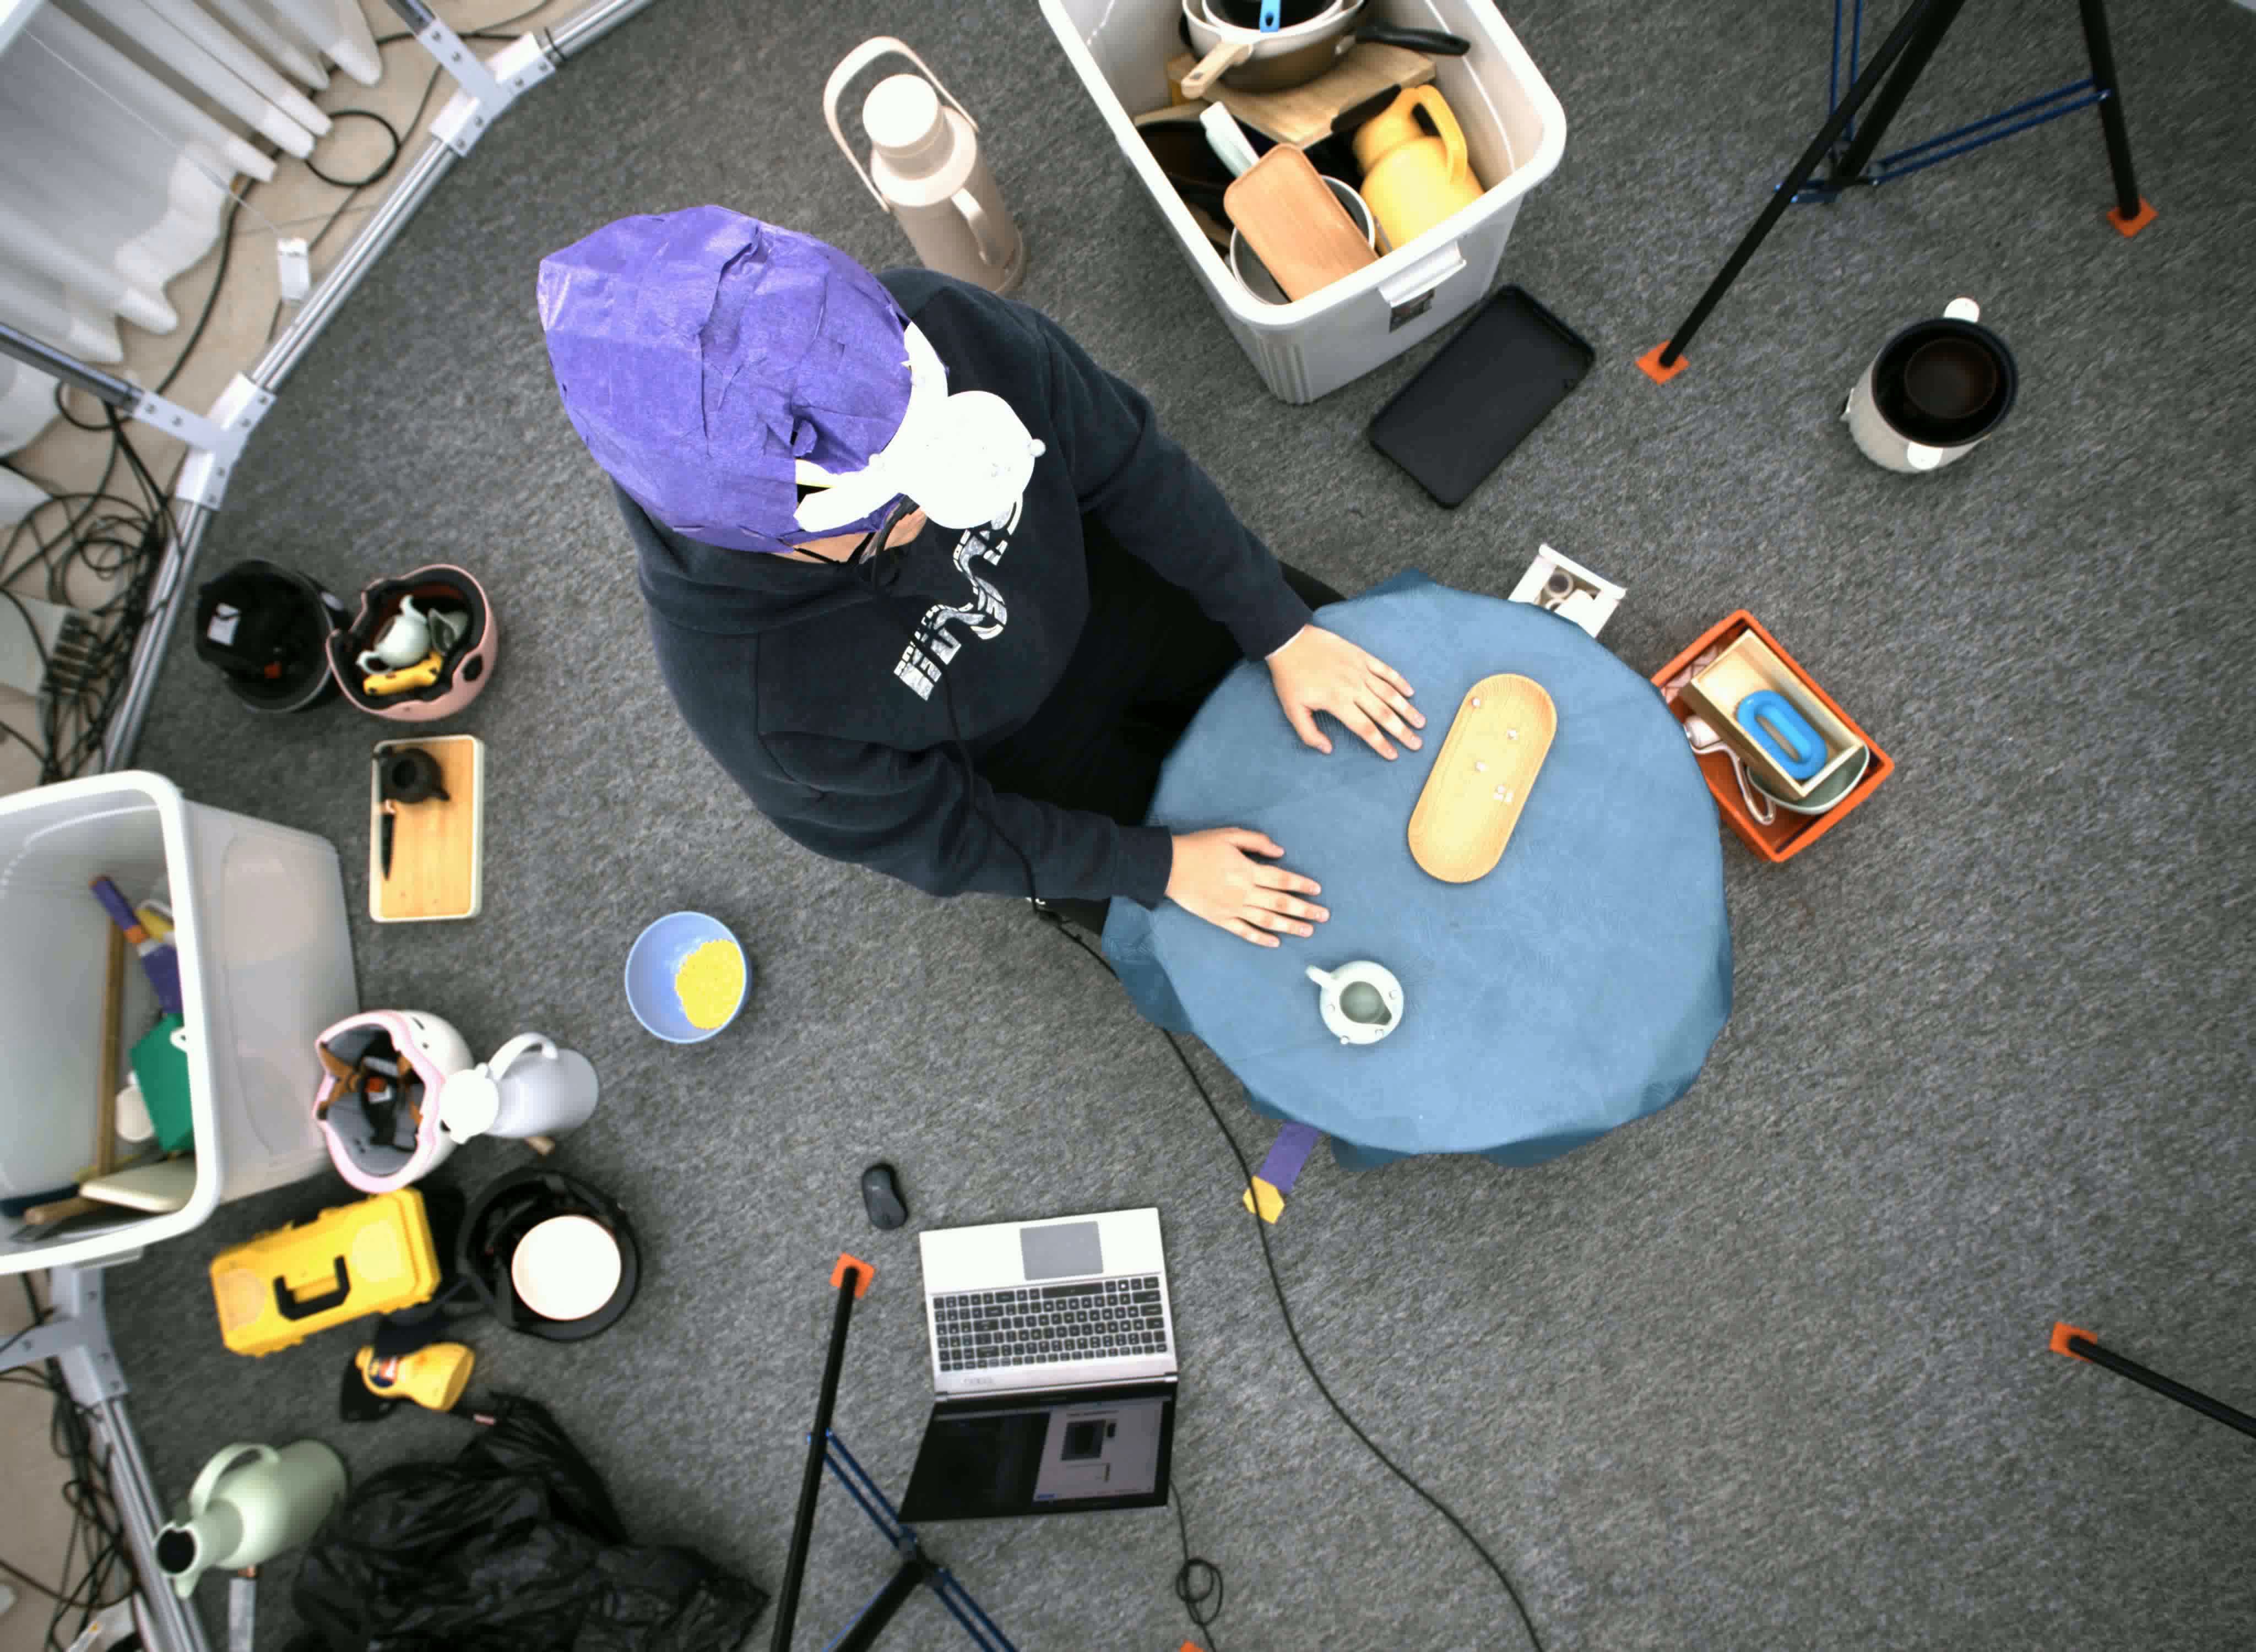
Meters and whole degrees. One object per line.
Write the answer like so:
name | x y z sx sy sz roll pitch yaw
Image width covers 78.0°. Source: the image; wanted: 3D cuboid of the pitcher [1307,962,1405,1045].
pitcher | 0.233 0.176 1.434 0.108 0.060 0.086 30 90 13

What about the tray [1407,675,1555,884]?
tray | 0.370 -0.050 1.441 0.101 0.020 0.231 24 93 13
